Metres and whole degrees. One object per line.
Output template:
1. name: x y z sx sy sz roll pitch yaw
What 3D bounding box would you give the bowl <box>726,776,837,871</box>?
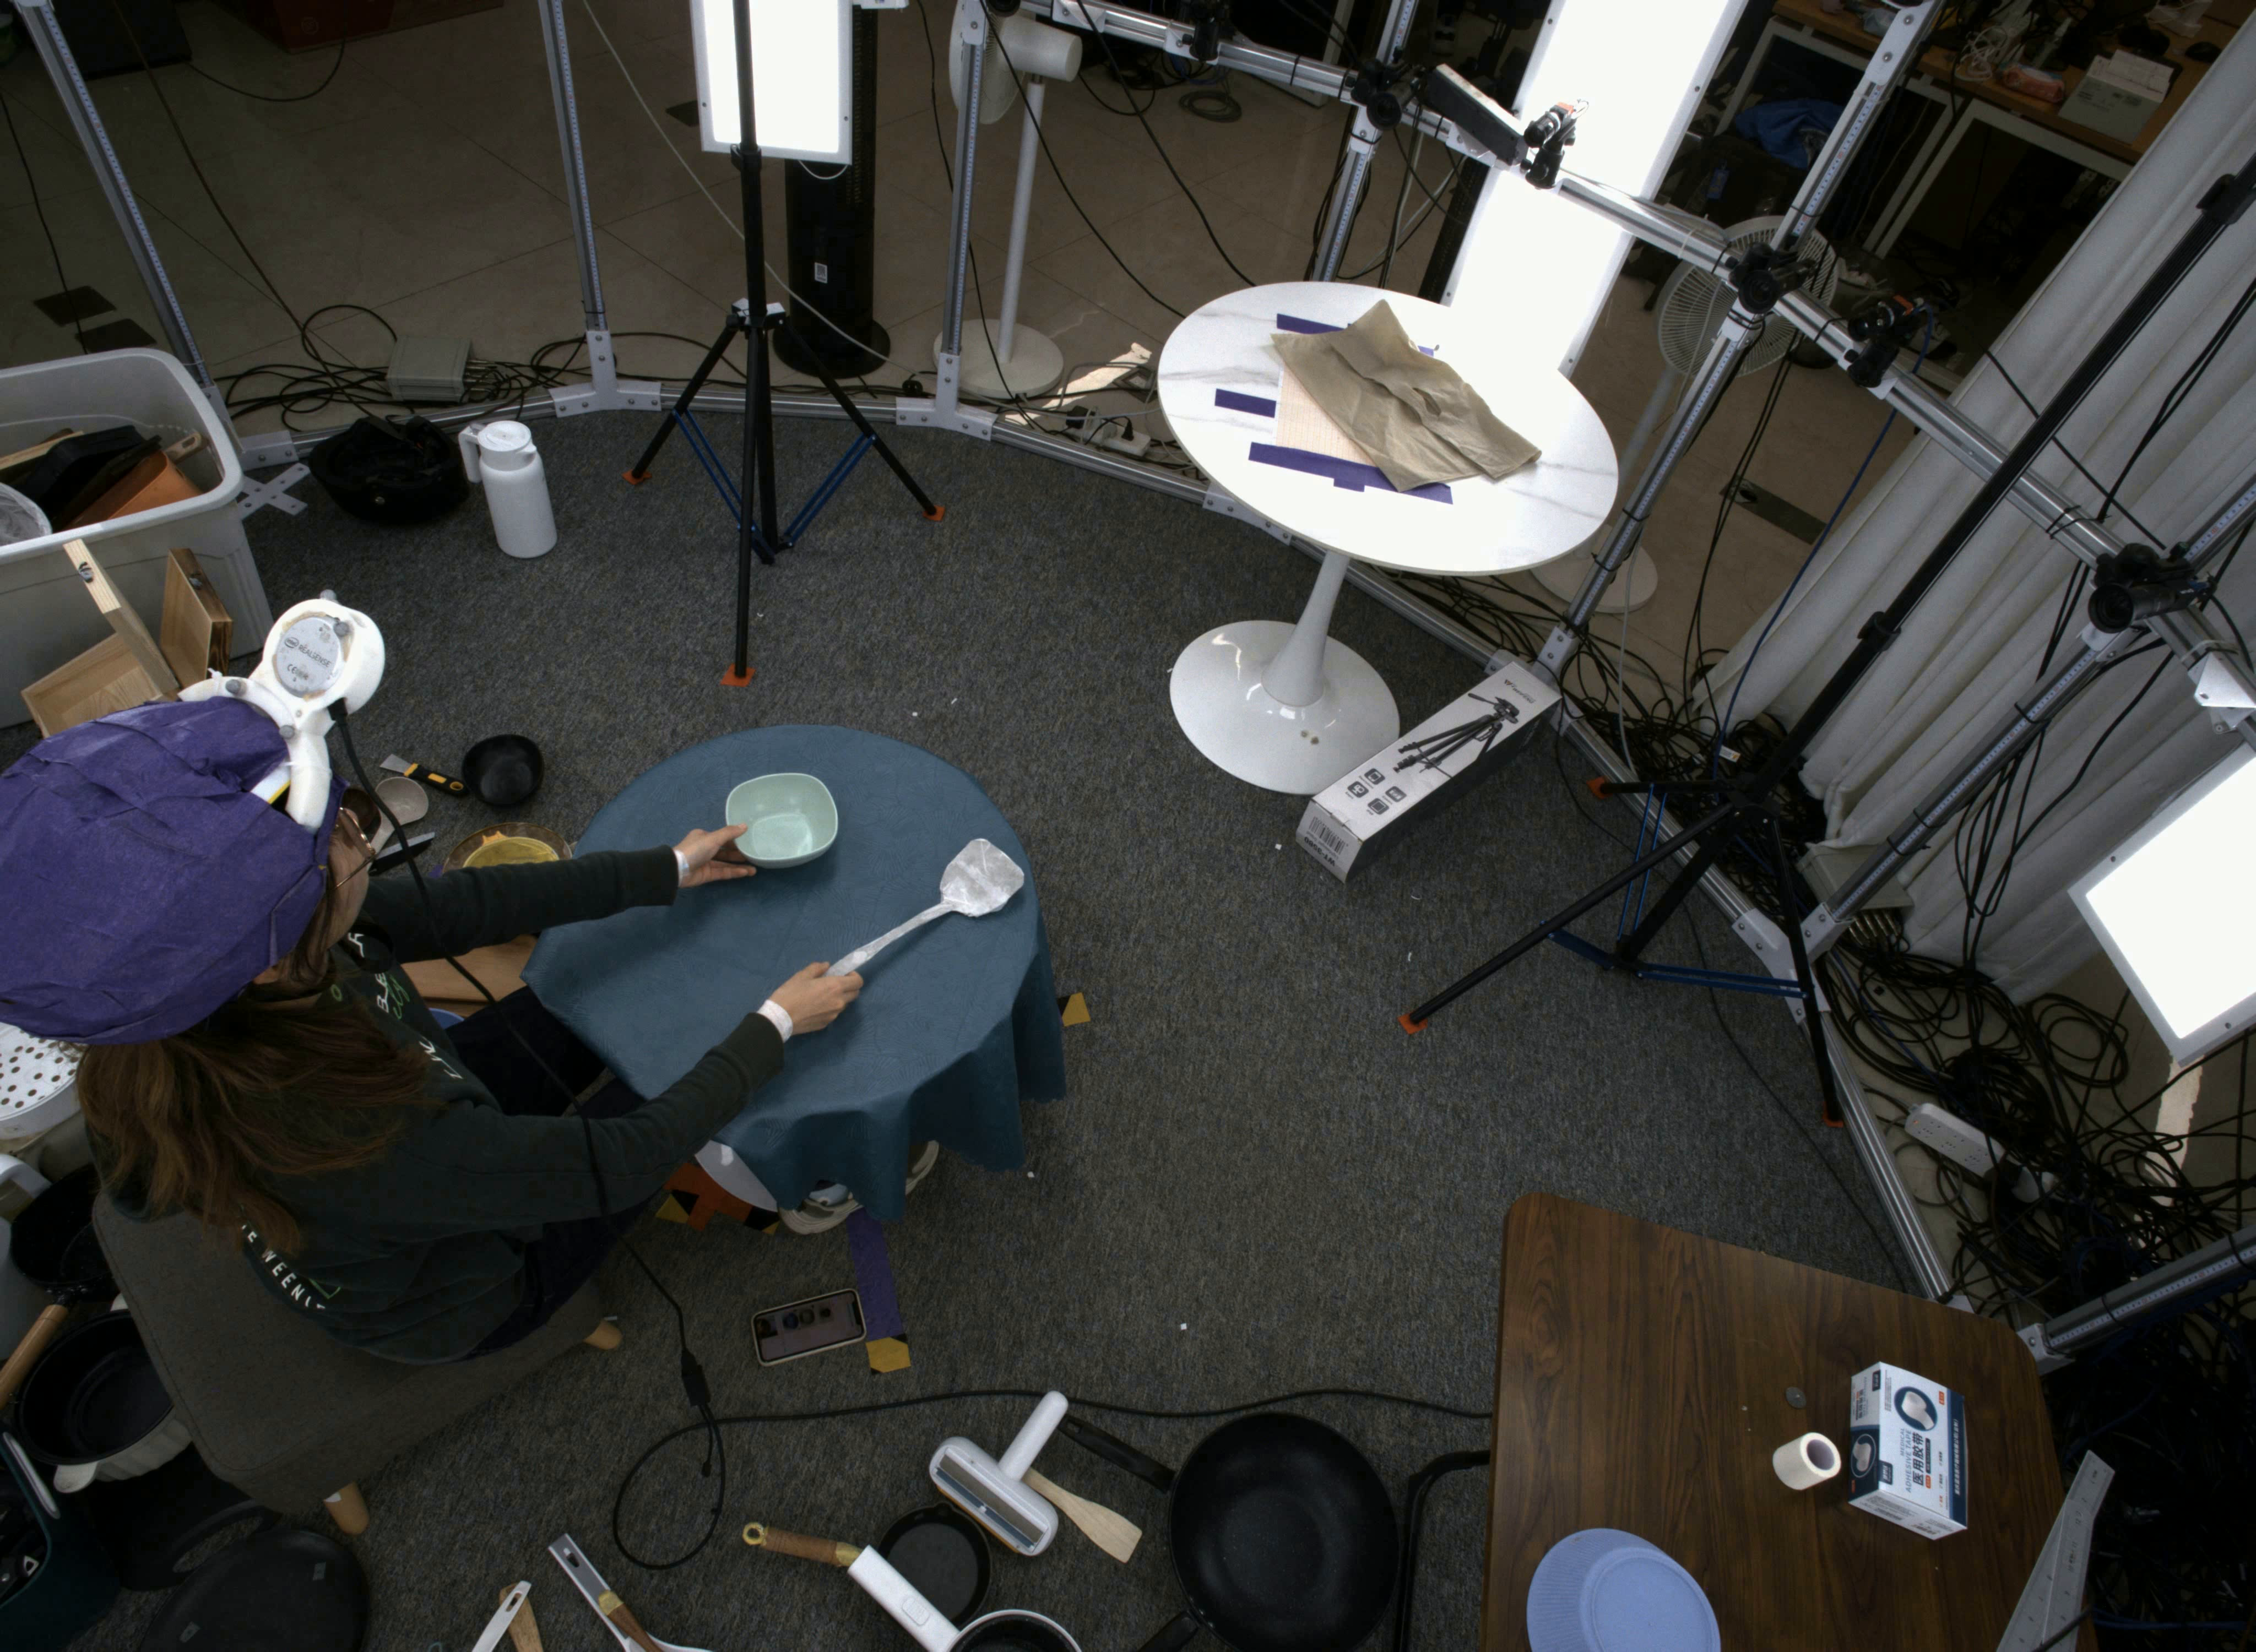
1. bowl: -0.450 0.005 1.684 0.151 0.060 0.148 8 50 -8

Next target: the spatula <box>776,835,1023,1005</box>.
1. spatula: -0.286 0.123 1.634 0.096 0.045 0.366 43 49 18
